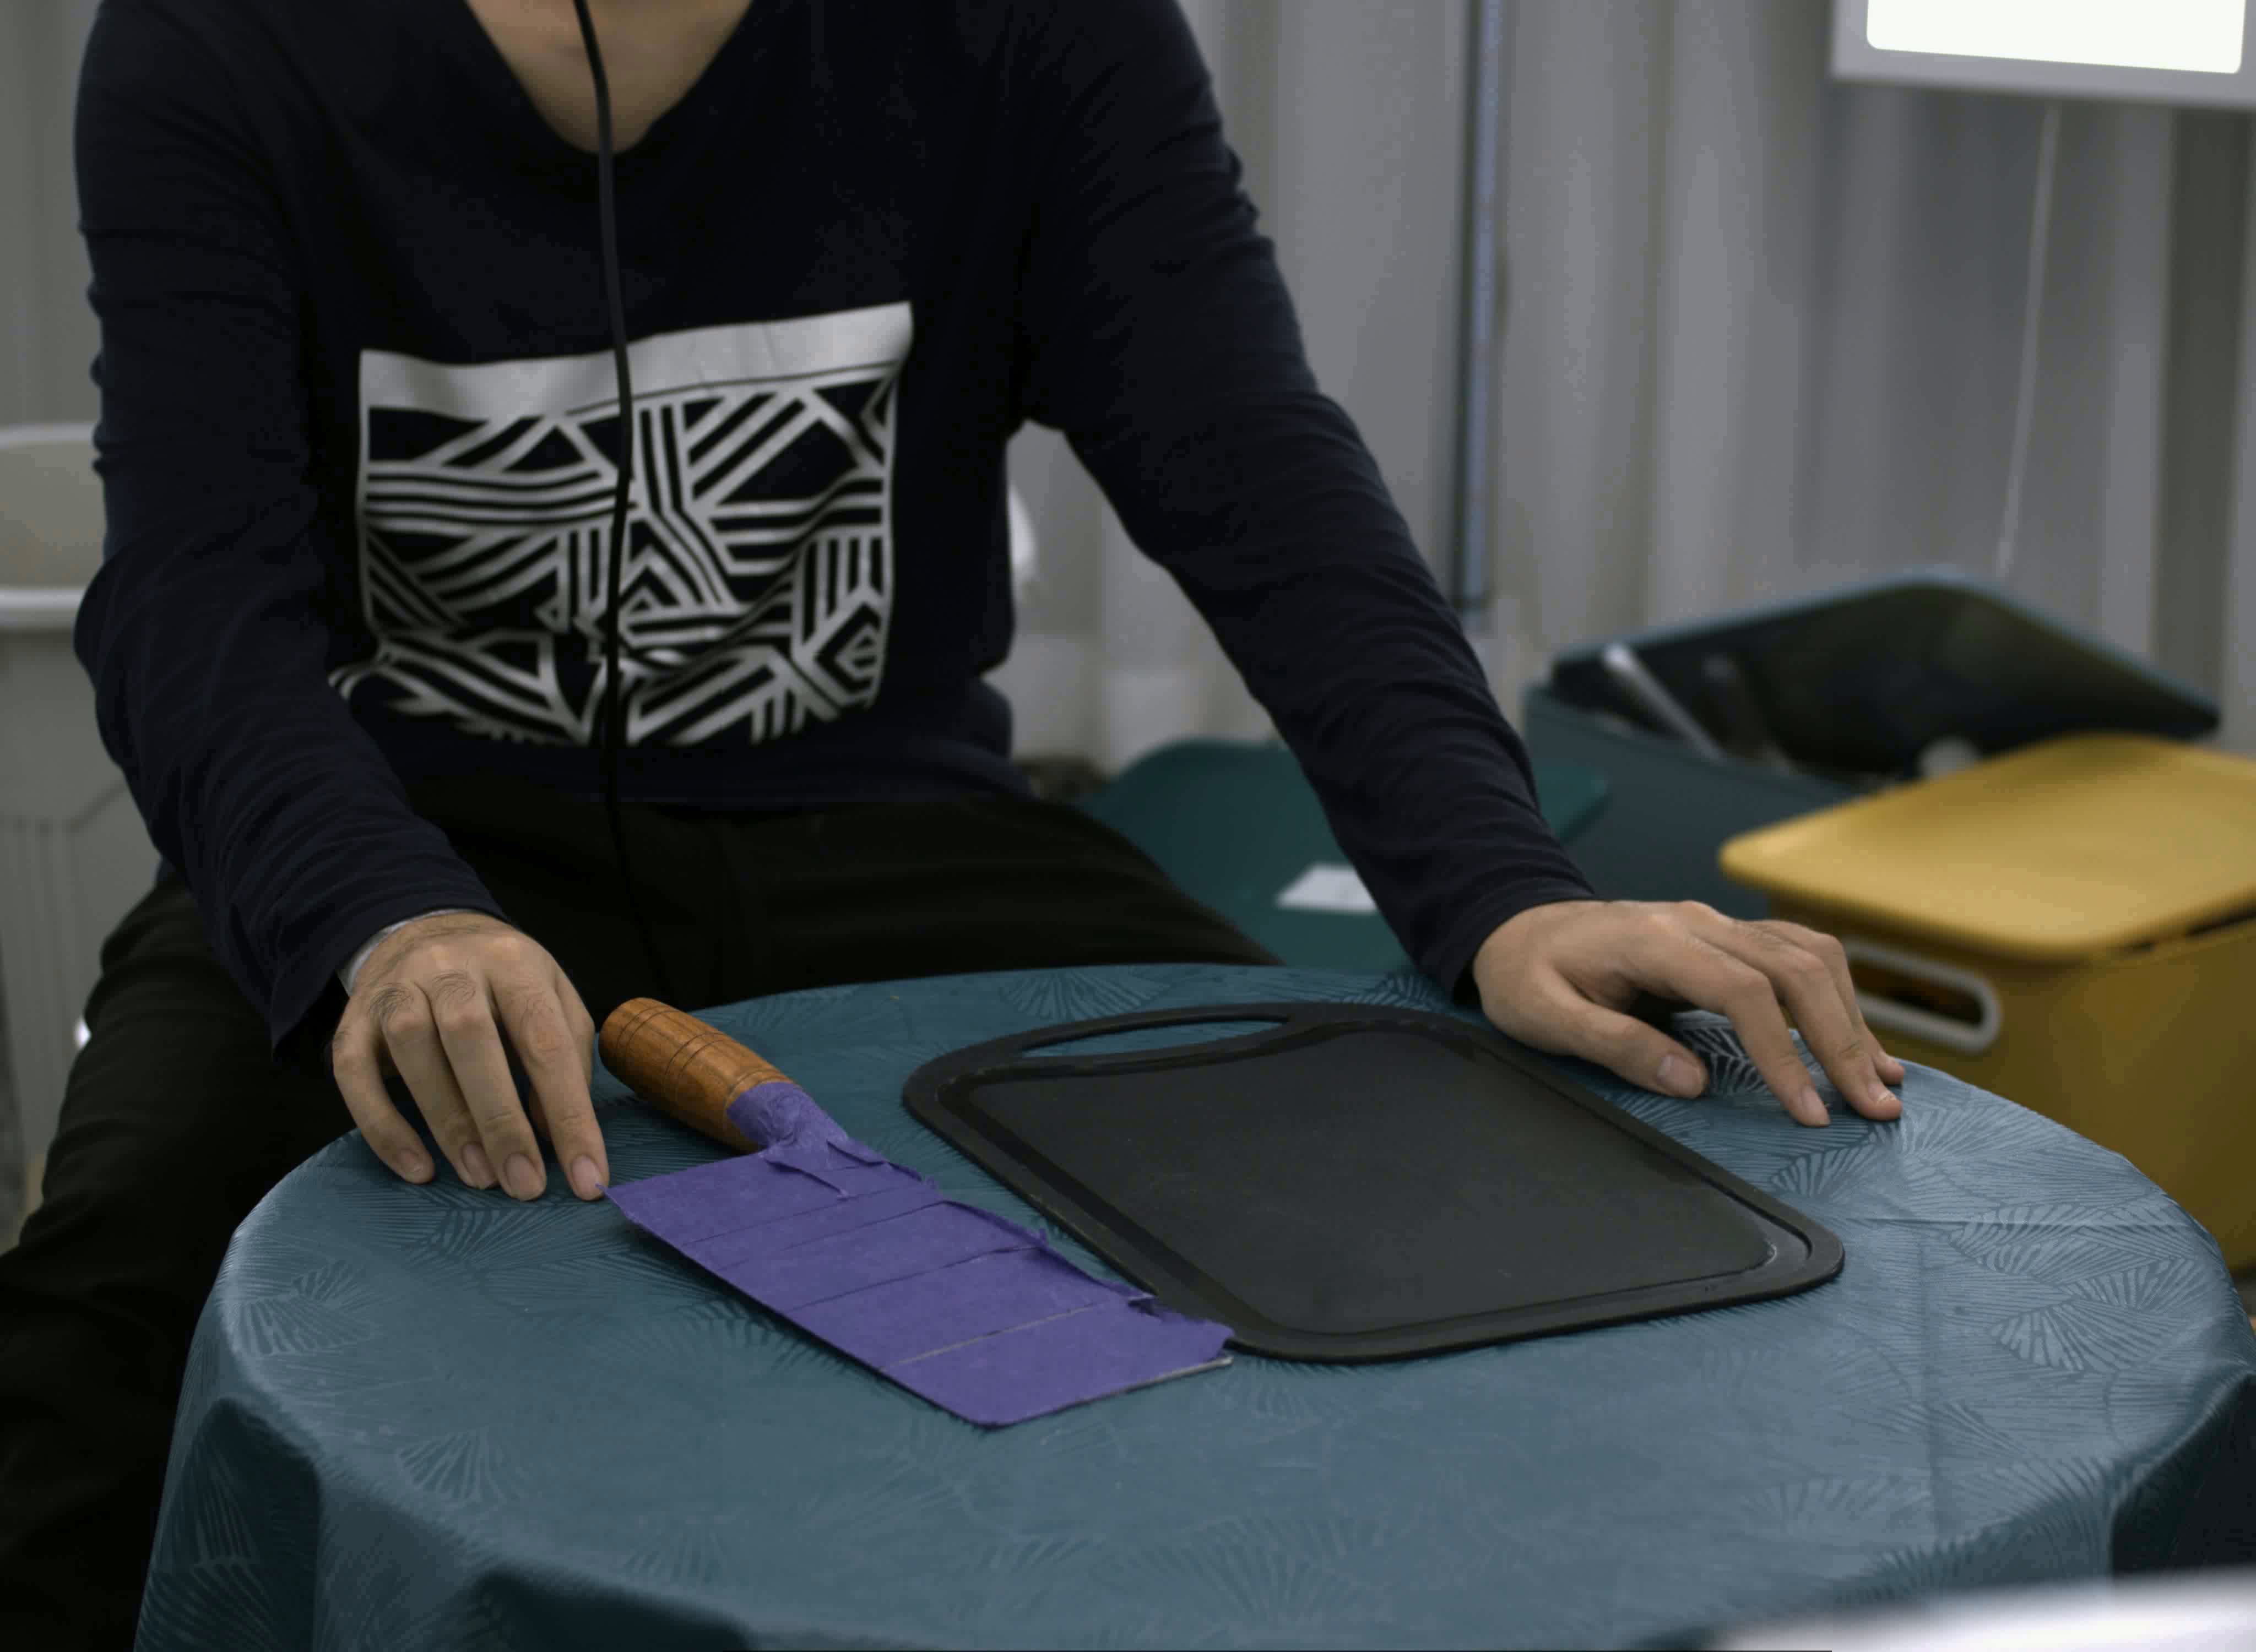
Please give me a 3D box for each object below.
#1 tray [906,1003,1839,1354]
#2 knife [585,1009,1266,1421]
[{"bbox_3d":[0.065,0.103,1.650,0.212,0.010,0.321,-6,17,-24],"label":"tray"},{"bbox_3d":[-0.094,0.112,1.570,0.104,0.032,0.311,-11,20,-36],"label":"knife"}]
